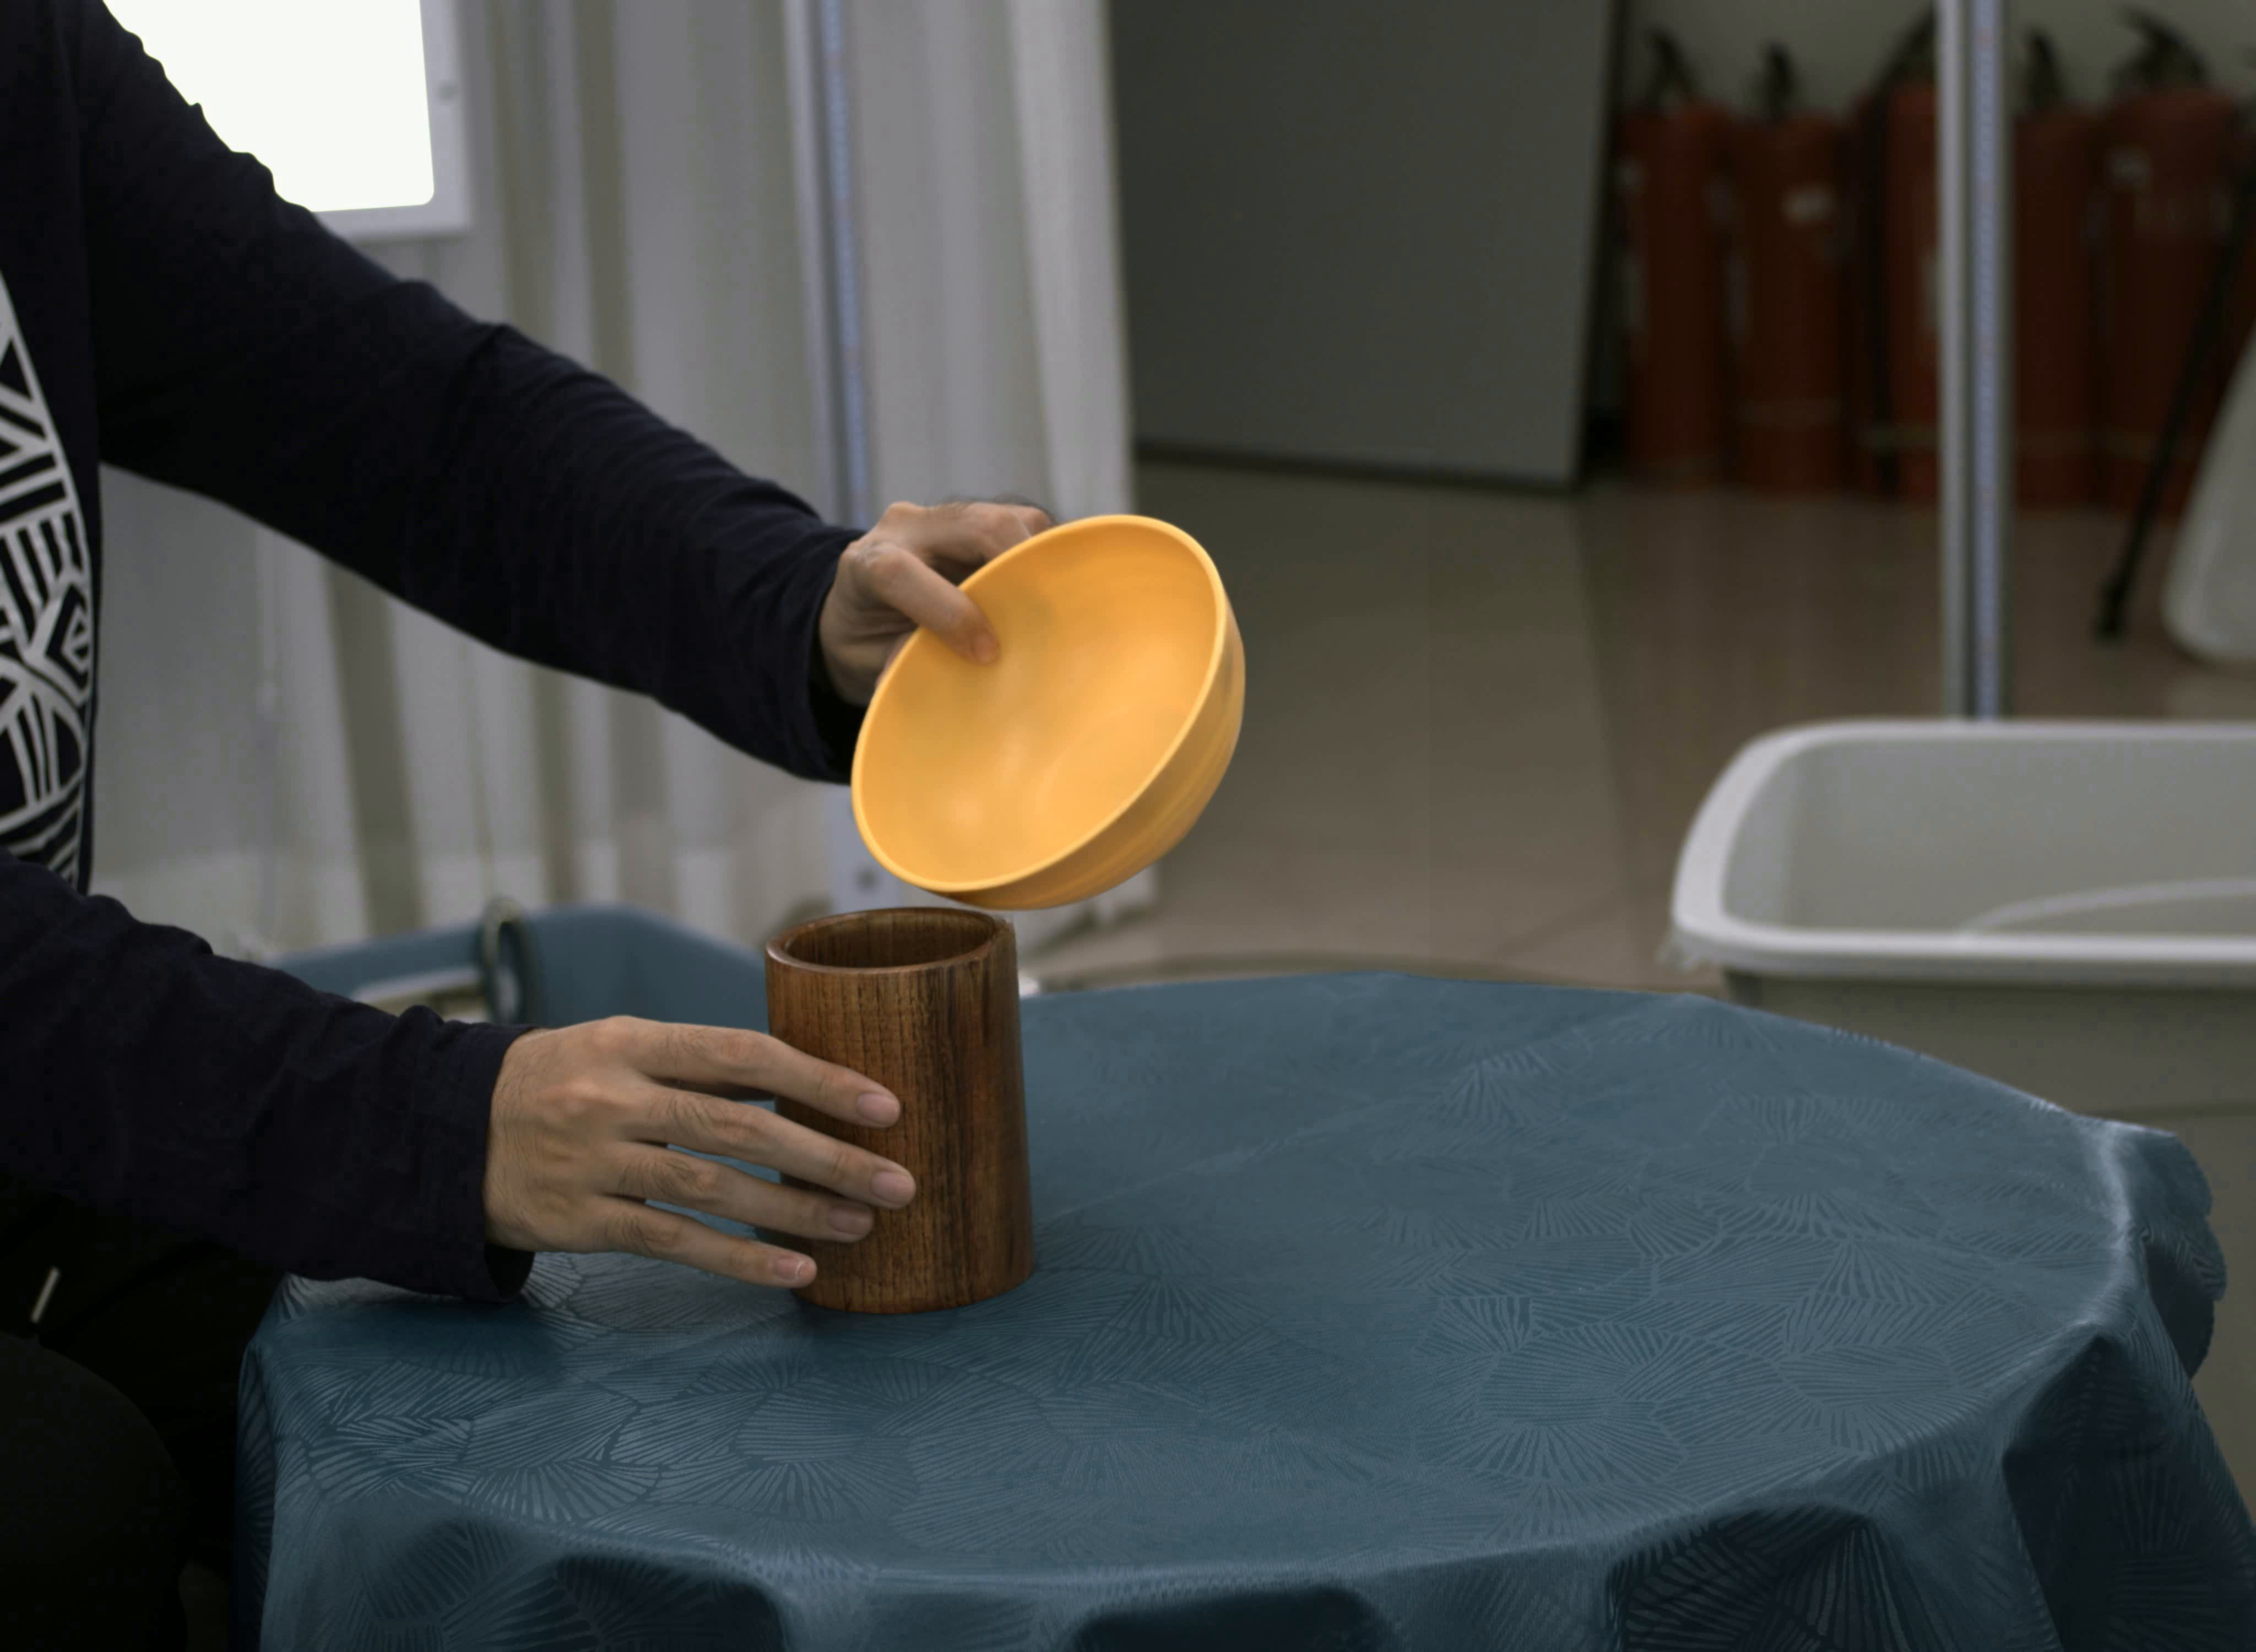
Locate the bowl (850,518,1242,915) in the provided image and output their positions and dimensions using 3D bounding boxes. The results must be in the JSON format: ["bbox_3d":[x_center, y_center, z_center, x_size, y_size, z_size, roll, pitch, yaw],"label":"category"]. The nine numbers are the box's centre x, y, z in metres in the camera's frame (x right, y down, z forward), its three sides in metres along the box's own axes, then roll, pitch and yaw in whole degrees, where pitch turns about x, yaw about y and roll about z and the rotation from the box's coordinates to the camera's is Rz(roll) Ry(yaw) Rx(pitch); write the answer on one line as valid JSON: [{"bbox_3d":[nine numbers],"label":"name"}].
[{"bbox_3d":[-0.015,-0.024,1.730,0.146,0.059,0.146,-26,41,24],"label":"bowl"}]

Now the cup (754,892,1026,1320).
[{"bbox_3d":[-0.074,0.086,1.691,0.086,0.120,0.088,-2,11,-1],"label":"cup"}]
